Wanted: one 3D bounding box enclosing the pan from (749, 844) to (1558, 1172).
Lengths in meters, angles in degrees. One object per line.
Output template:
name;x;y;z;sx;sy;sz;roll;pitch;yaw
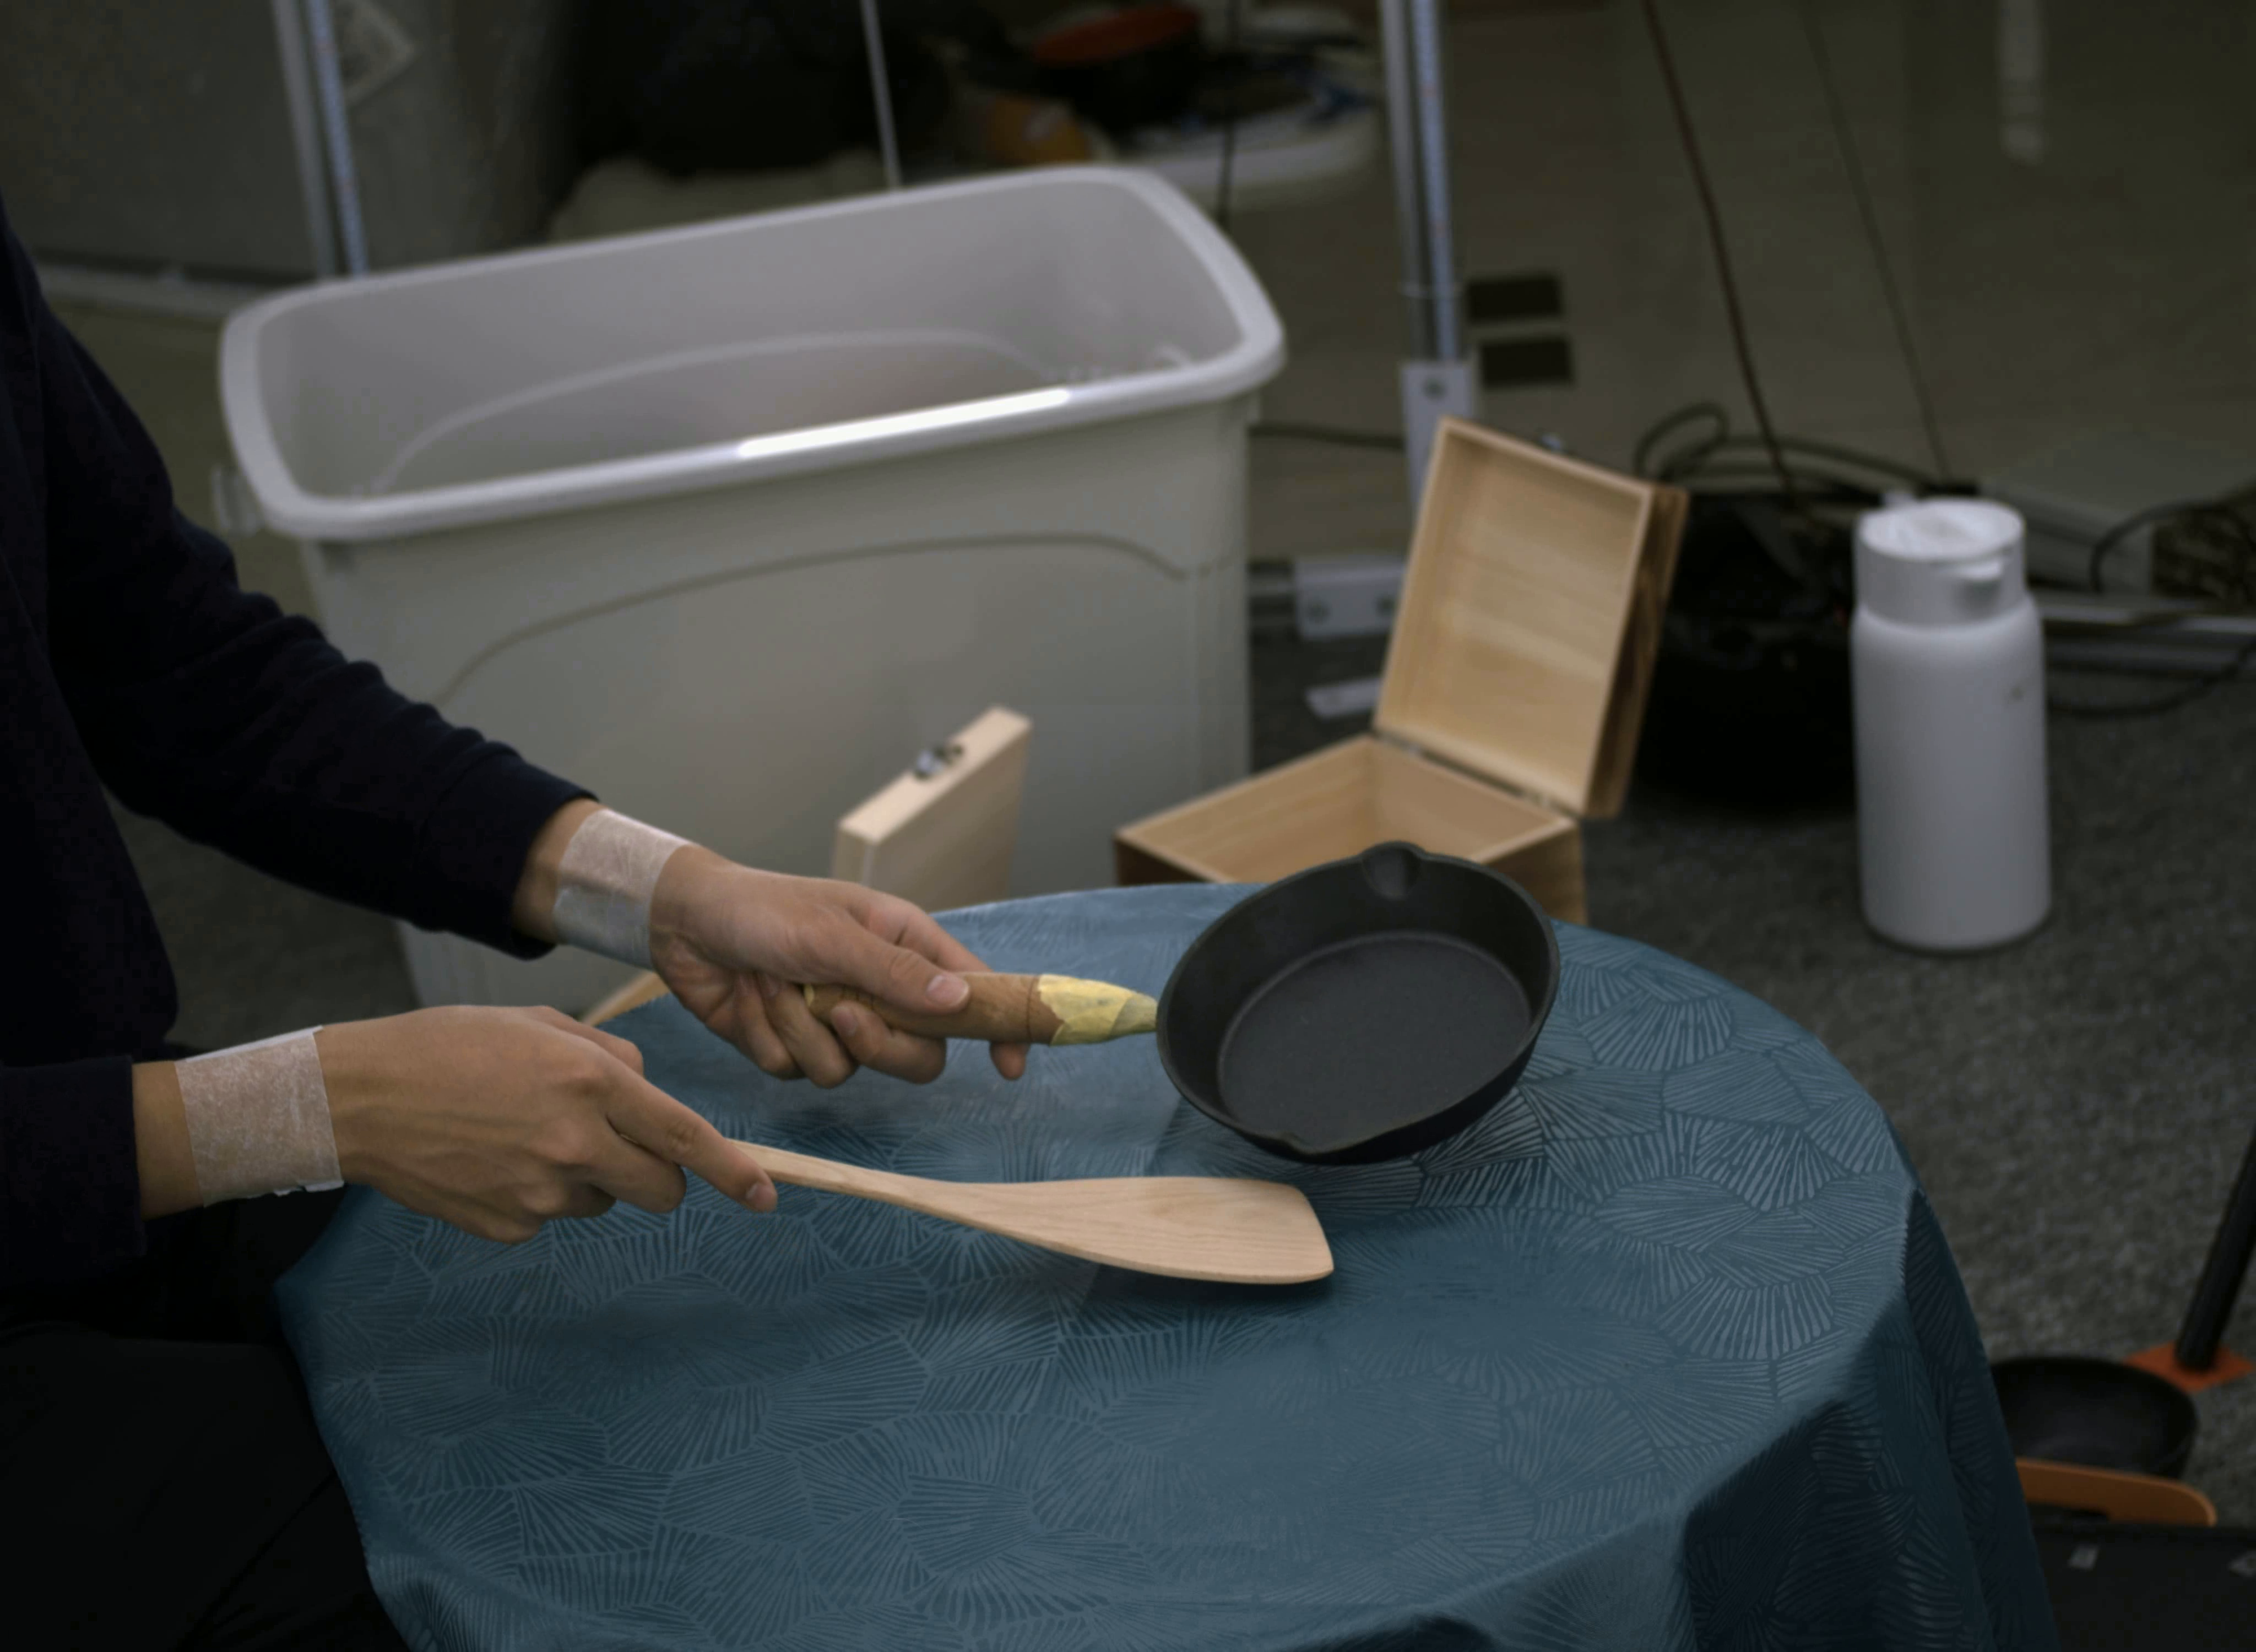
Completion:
pan;0.009;0.071;2.182;0.323;0.050;0.166;0;44;19

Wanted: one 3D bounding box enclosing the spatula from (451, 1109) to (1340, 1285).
spatula;-0.085;0.130;2.079;0.327;0.017;0.079;9;23;-3
